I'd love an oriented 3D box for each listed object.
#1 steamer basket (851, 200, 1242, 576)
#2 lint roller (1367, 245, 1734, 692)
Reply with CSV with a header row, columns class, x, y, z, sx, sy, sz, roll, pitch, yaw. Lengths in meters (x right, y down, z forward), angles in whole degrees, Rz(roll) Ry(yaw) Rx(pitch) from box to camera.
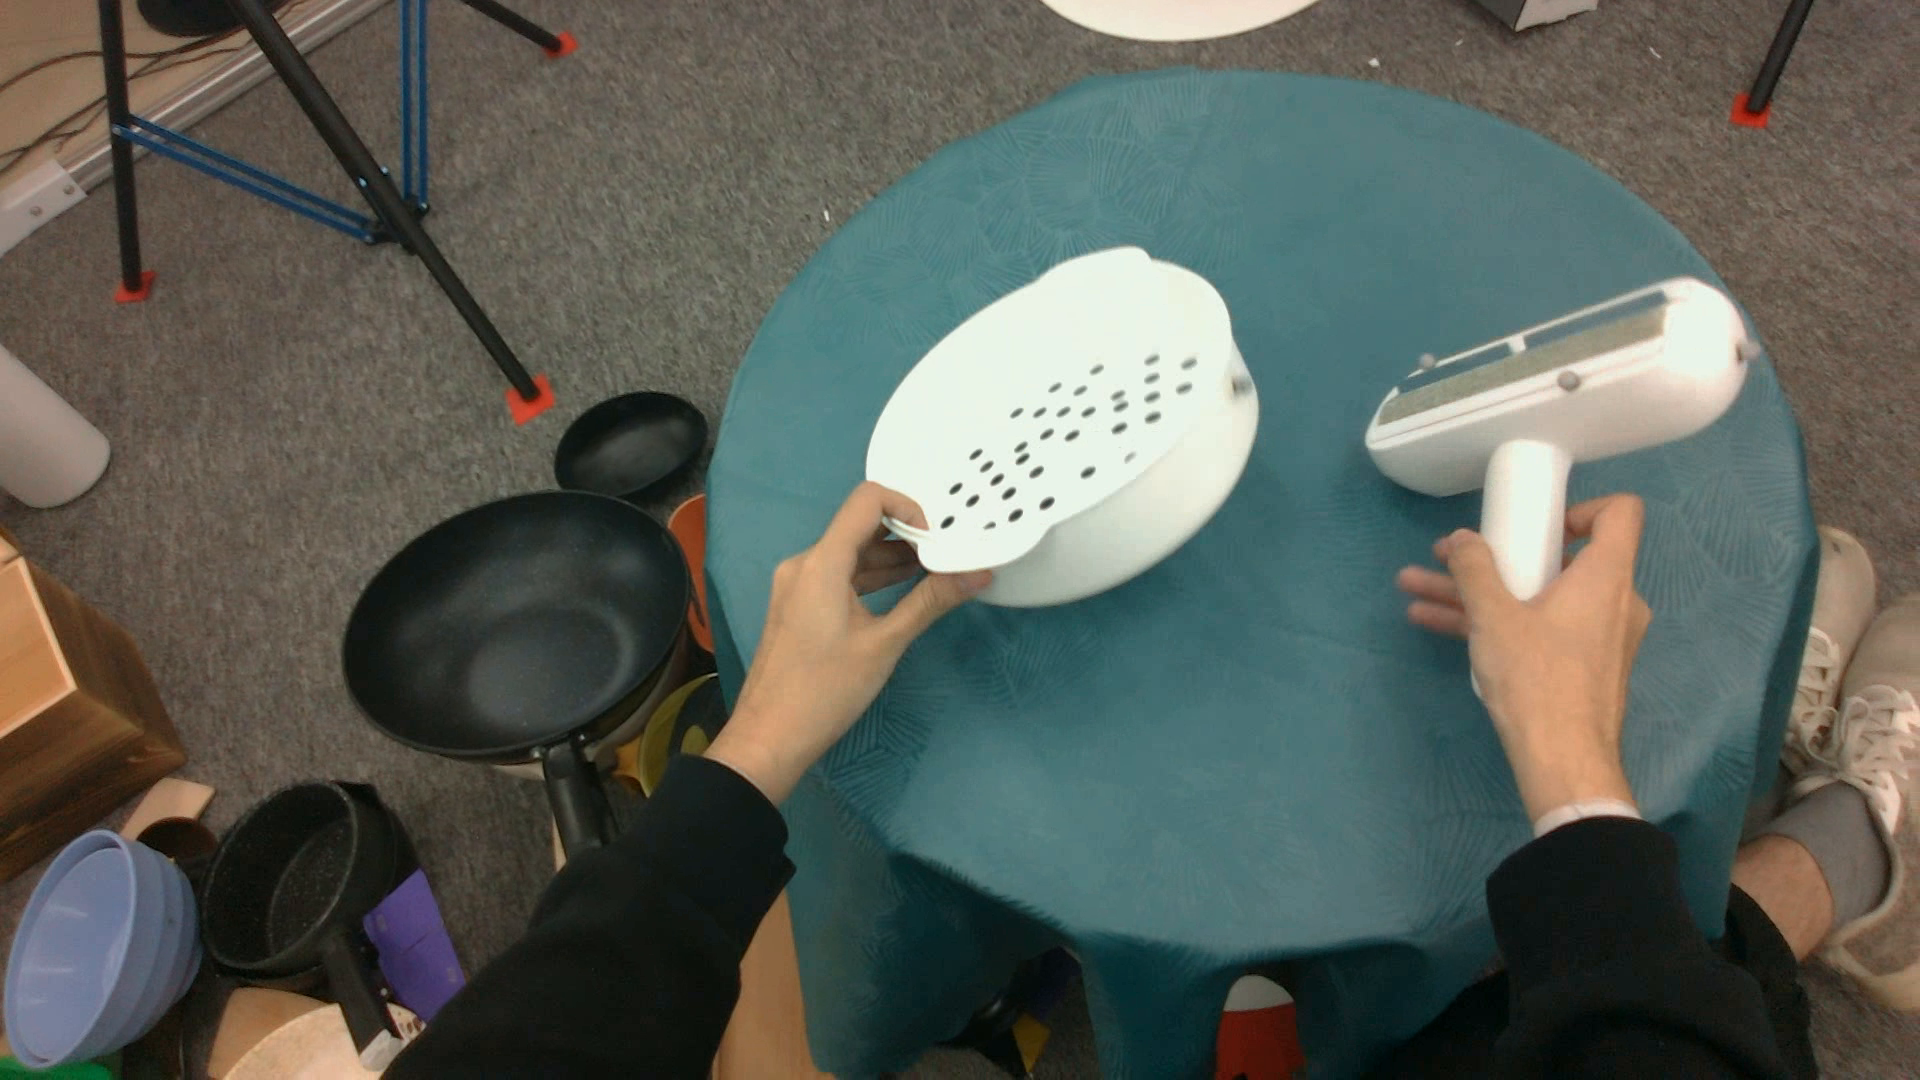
class,x,y,z,sx,sy,sz,roll,pitch,yaw
steamer basket,0.042,-0.074,0.704,0.201,0.069,0.231,-11,47,35
lint roller,0.253,-0.027,0.638,0.074,0.192,0.193,29,75,-20
